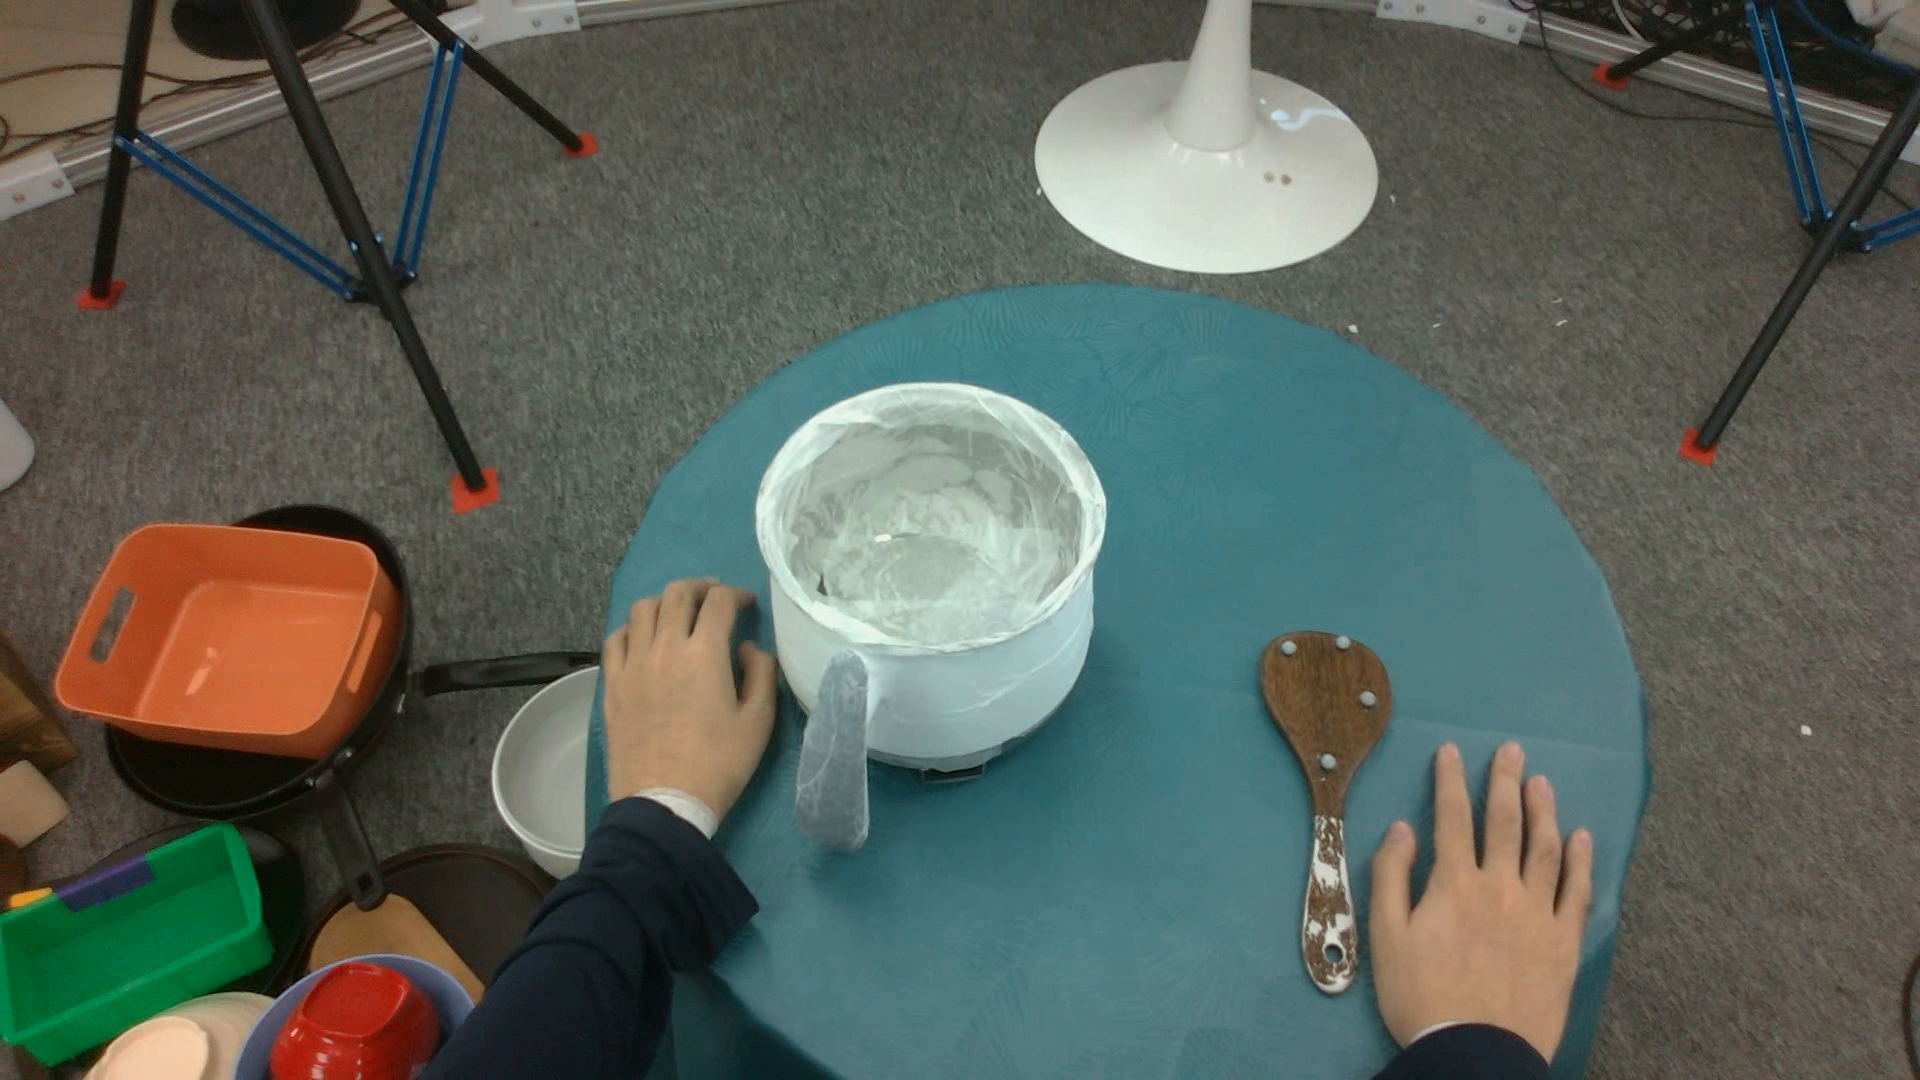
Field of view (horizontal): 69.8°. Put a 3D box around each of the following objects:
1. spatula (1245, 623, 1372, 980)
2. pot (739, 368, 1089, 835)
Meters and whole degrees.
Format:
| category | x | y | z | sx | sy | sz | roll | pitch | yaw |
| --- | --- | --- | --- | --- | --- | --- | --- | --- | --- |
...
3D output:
| category | x | y | z | sx | sy | sz | roll | pitch | yaw |
| --- | --- | --- | --- | --- | --- | --- | --- | --- | --- |
| spatula | 0.187 | 0.132 | 0.741 | 0.072 | 0.009 | 0.217 | 7 | 52 | 5 |
| pot | -0.032 | 0.035 | 0.725 | 0.178 | 0.136 | 0.235 | 15 | 51 | 13 |
